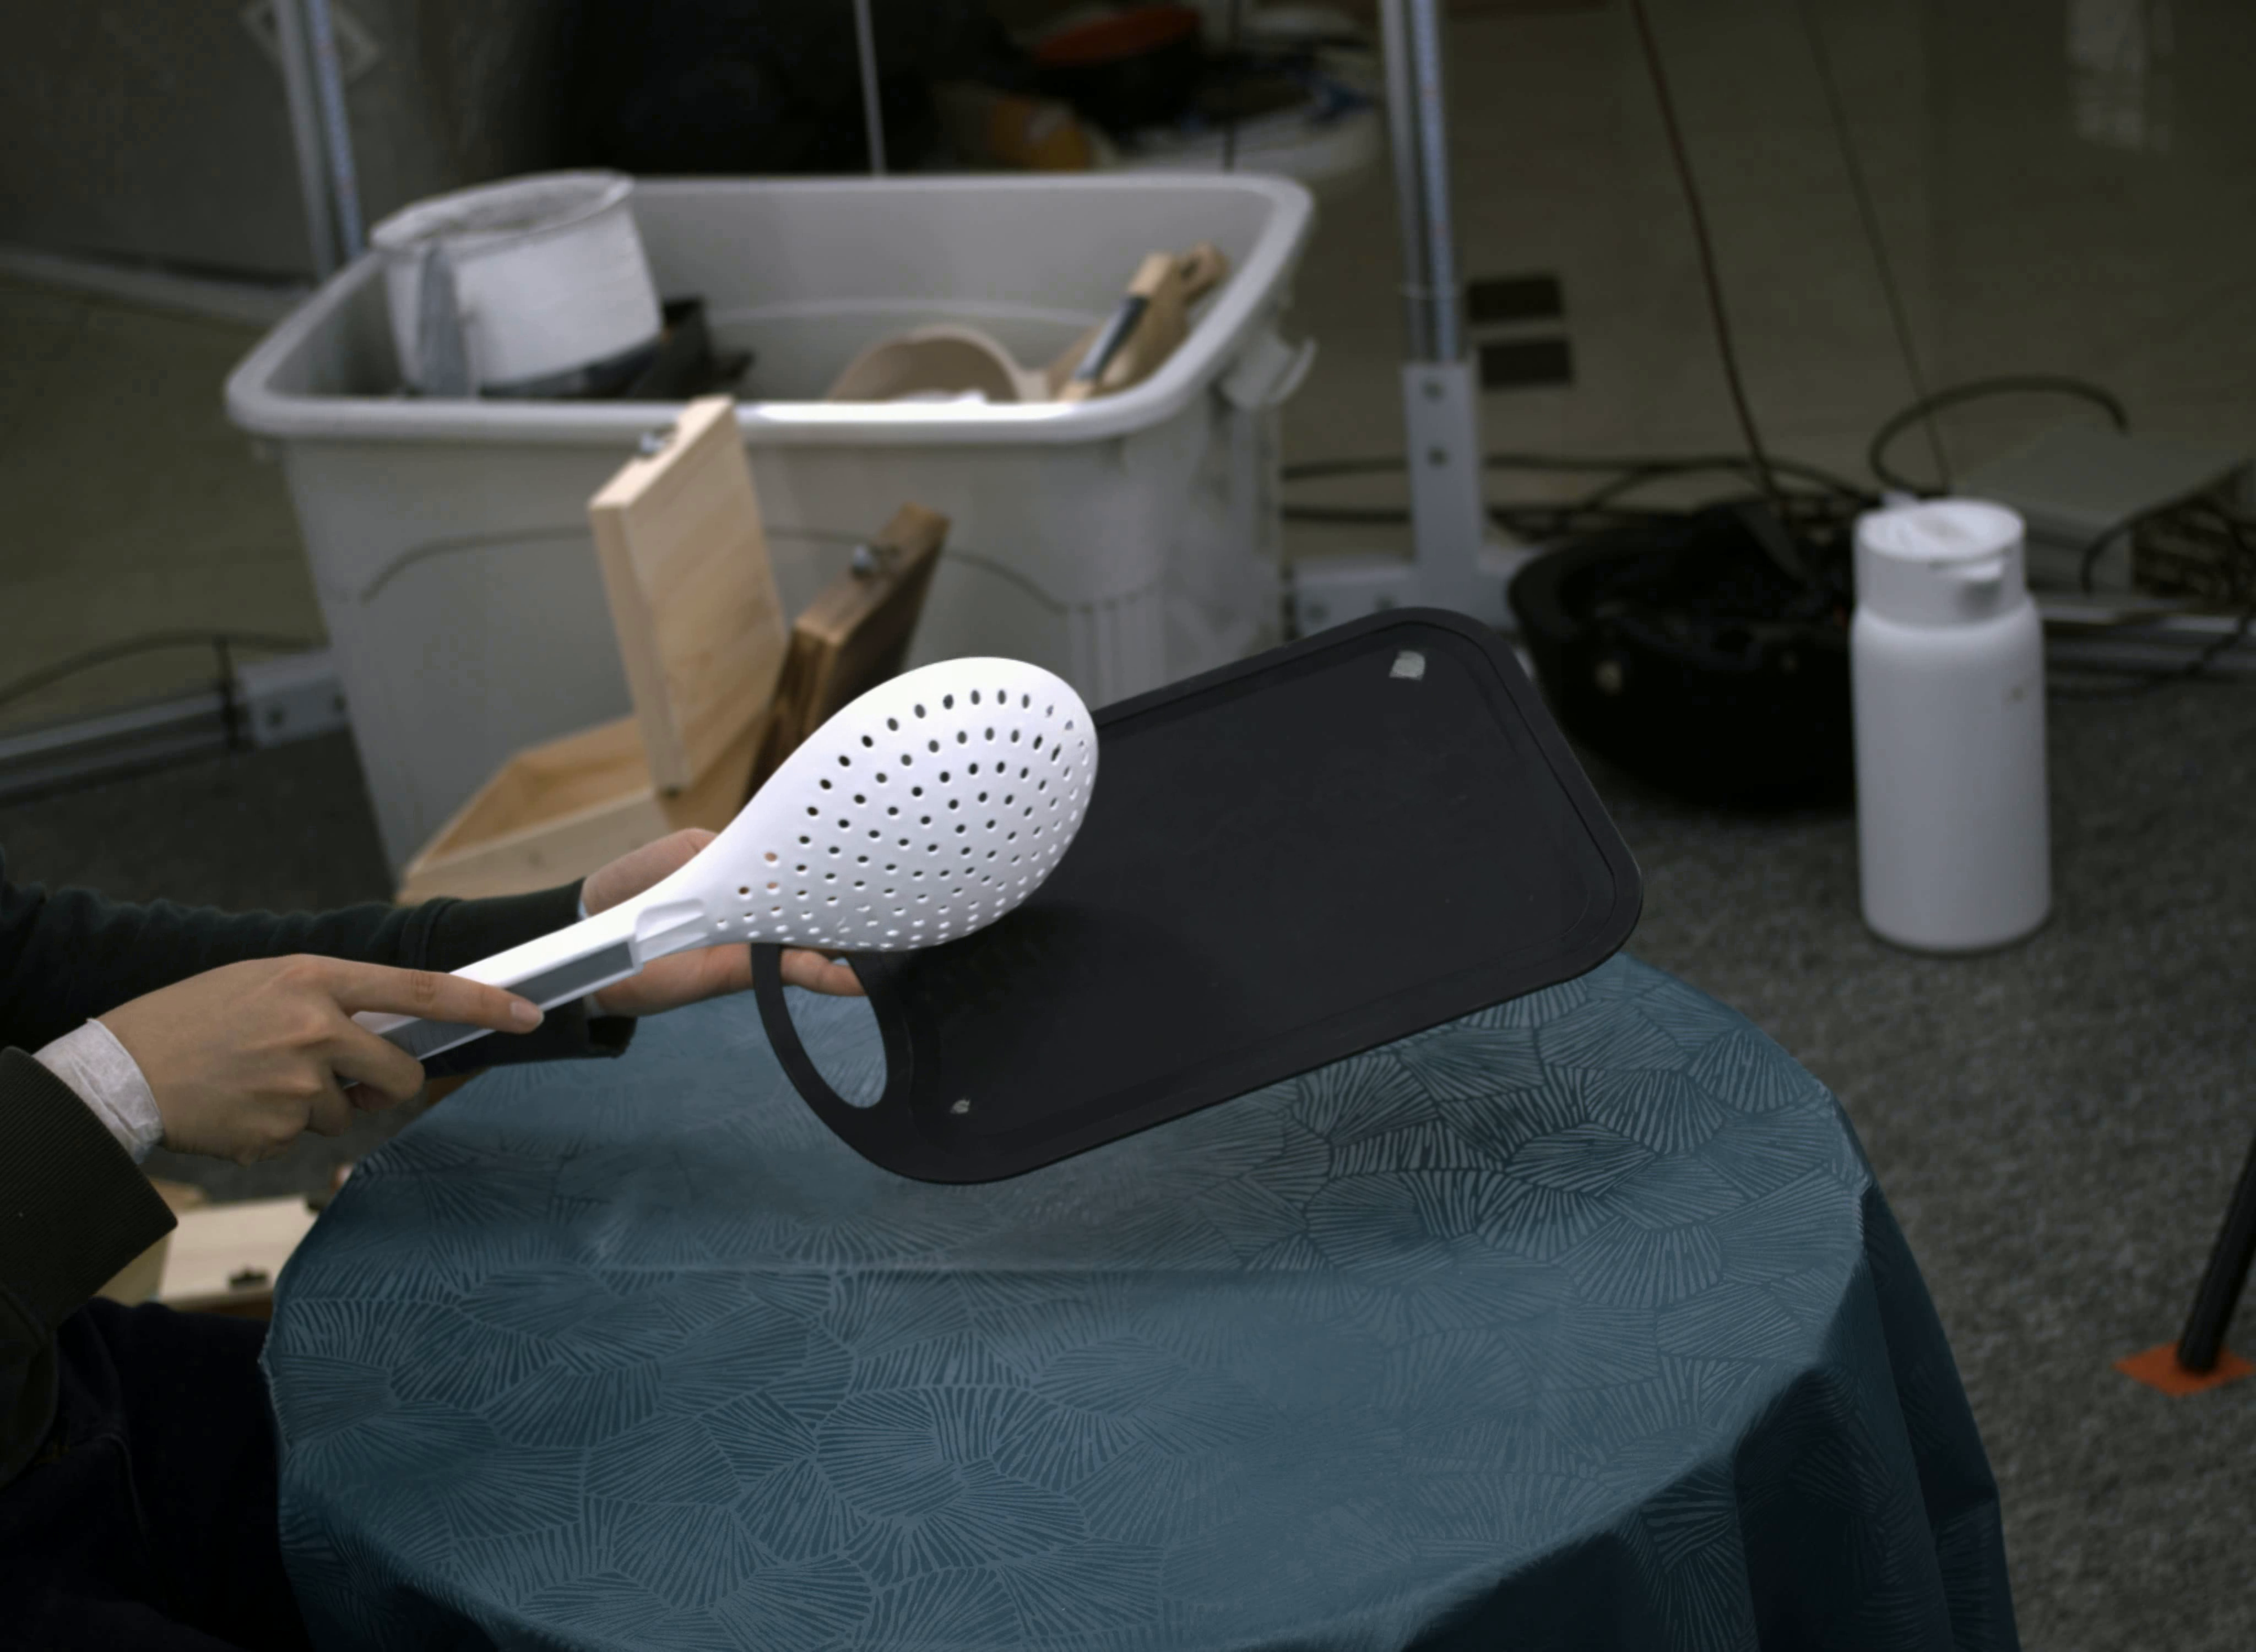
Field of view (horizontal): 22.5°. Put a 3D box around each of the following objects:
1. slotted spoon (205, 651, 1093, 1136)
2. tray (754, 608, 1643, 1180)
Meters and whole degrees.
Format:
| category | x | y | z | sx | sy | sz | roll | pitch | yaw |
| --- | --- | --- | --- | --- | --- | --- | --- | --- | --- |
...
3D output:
| category | x | y | z | sx | sy | sz | roll | pitch | yaw |
| --- | --- | --- | --- | --- | --- | --- | --- | --- | --- |
| slotted spoon | -0.169 | 0.035 | 2.057 | 0.349 | 0.139 | 0.045 | -19 | 46 | -9 |
| tray | 0.019 | 0.024 | 2.132 | 0.324 | 0.010 | 0.207 | -19 | 48 | -7 |
